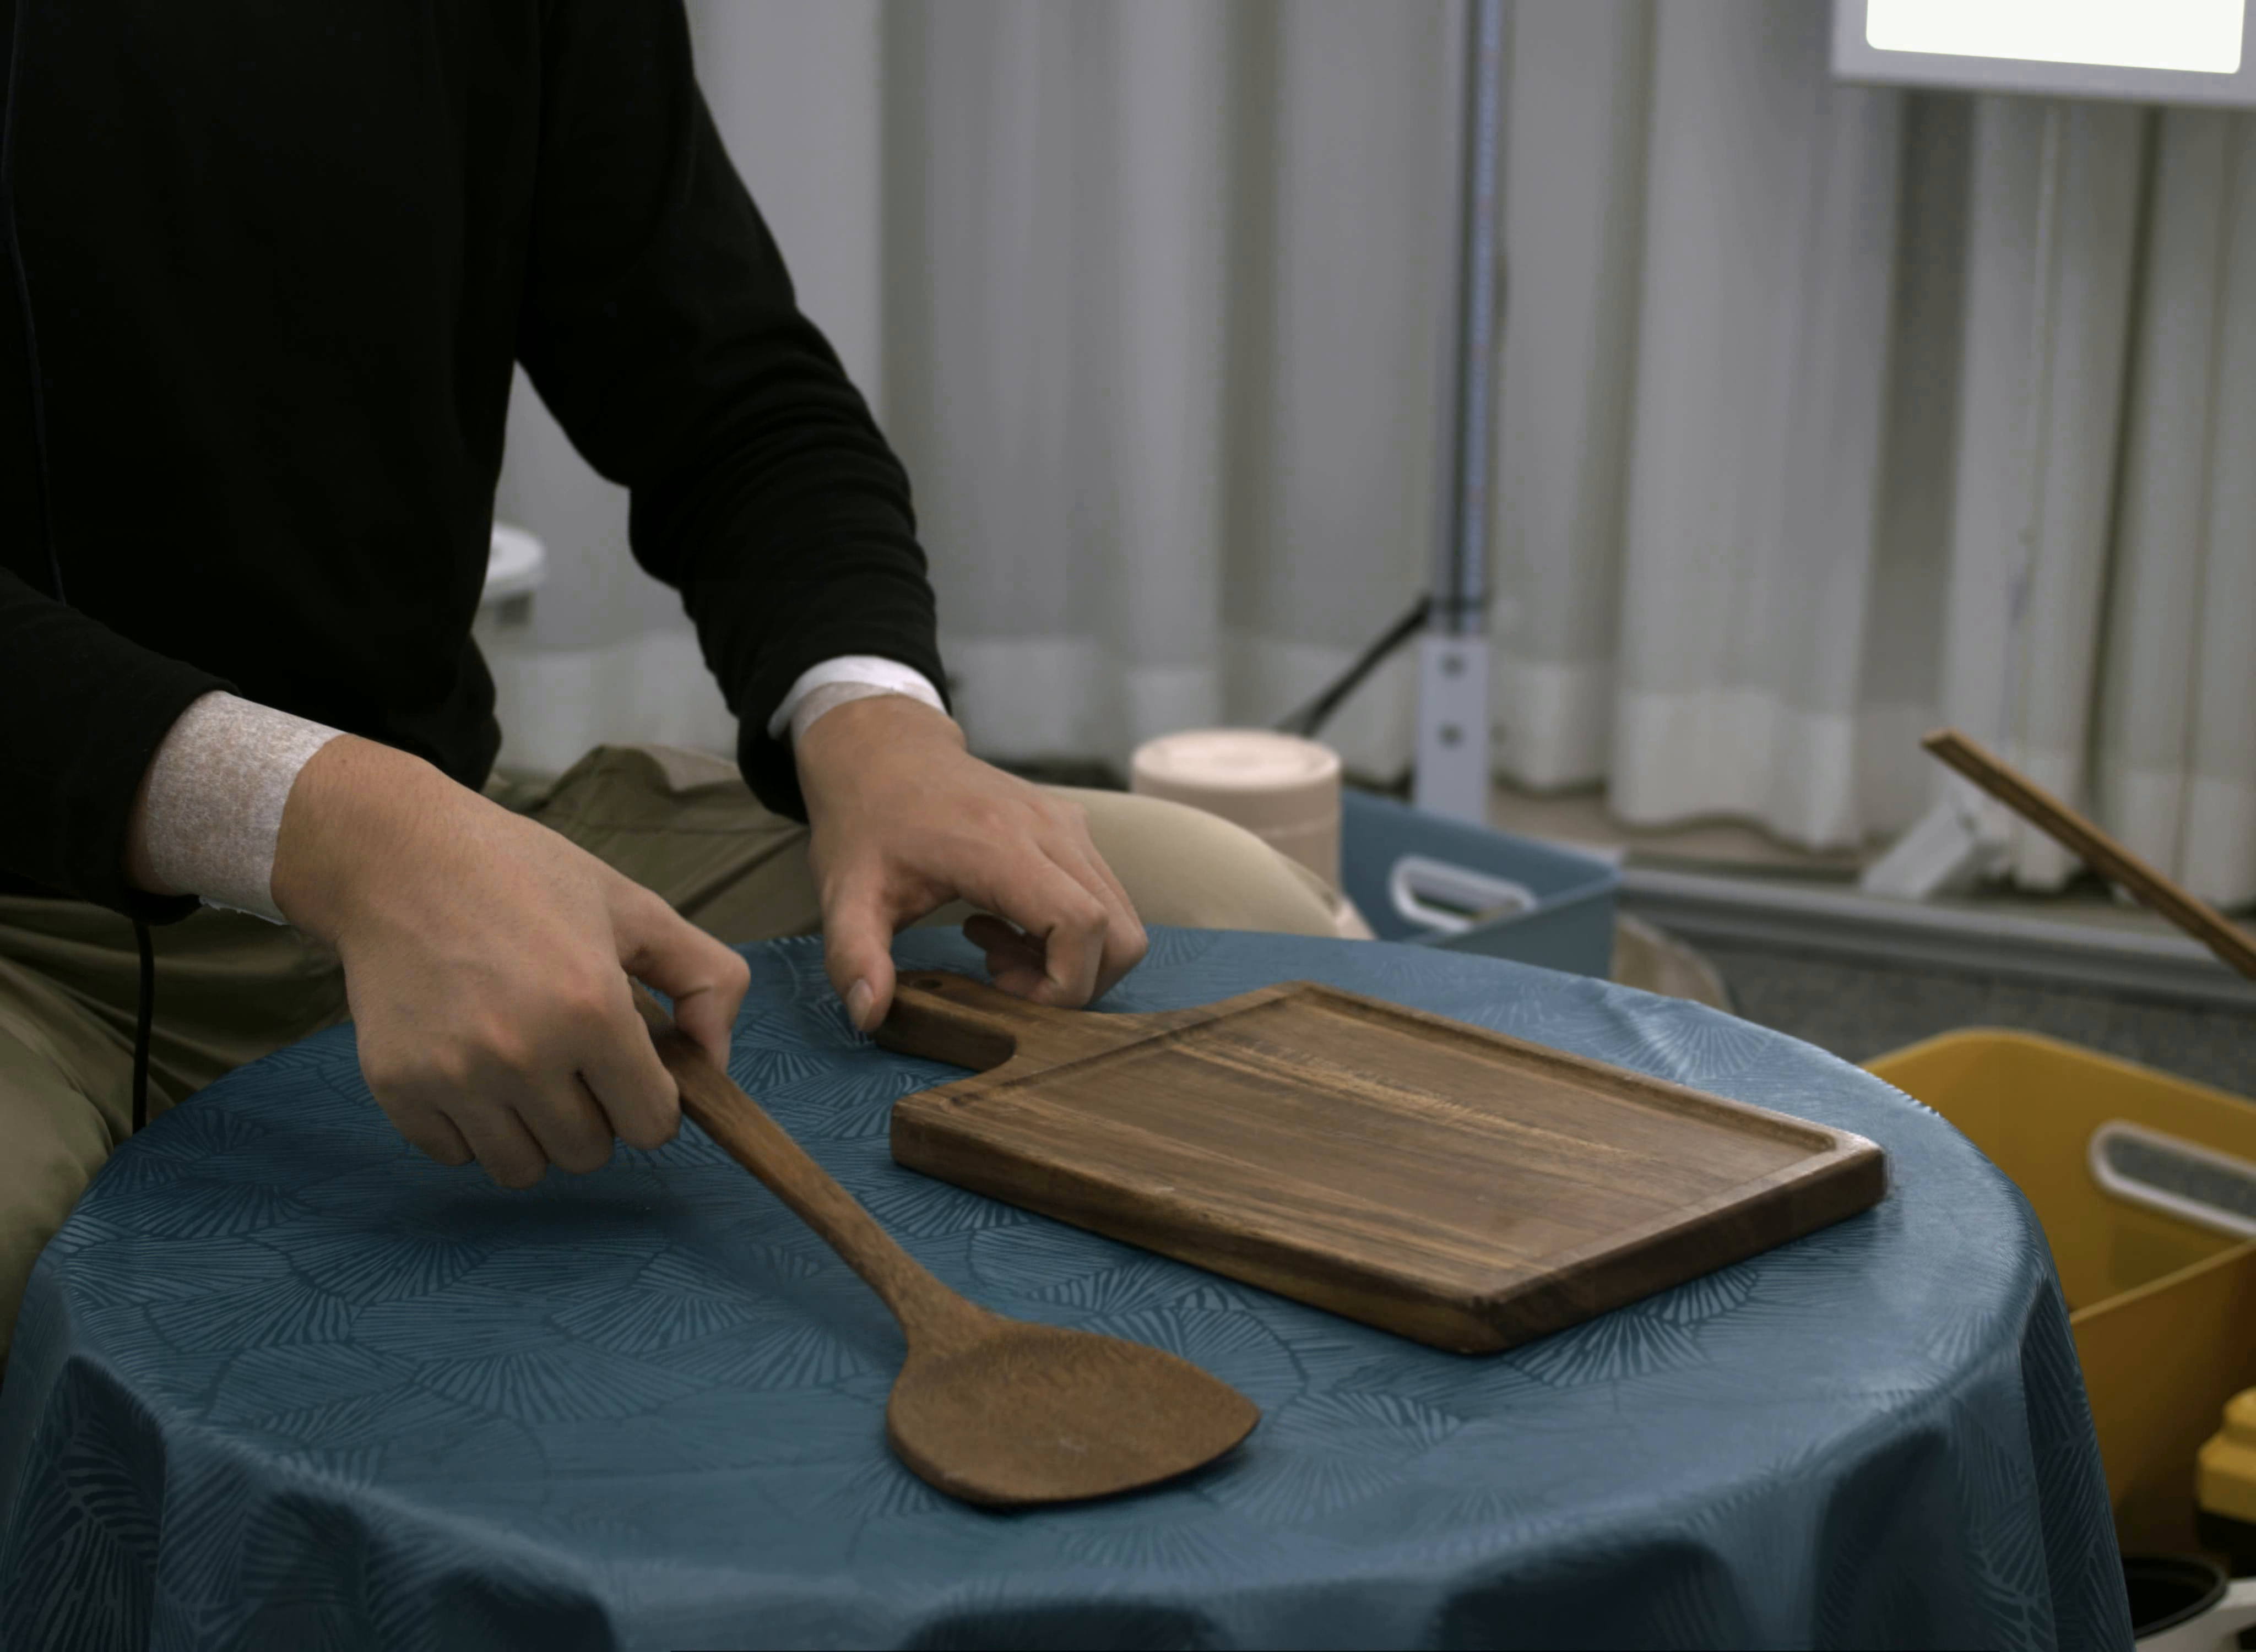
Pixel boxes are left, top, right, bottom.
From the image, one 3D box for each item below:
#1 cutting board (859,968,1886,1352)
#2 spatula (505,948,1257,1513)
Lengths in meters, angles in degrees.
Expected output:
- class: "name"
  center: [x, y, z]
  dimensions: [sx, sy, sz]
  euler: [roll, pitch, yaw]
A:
- class: "cutting board"
  center: [0.044, 0.091, 1.661]
  dimensions: [0.347, 0.023, 0.202]
  euler: [15, 20, 41]
- class: "spatula"
  center: [-0.094, 0.108, 1.532]
  dimensions: [0.096, 0.016, 0.380]
  euler: [-11, 28, -29]
